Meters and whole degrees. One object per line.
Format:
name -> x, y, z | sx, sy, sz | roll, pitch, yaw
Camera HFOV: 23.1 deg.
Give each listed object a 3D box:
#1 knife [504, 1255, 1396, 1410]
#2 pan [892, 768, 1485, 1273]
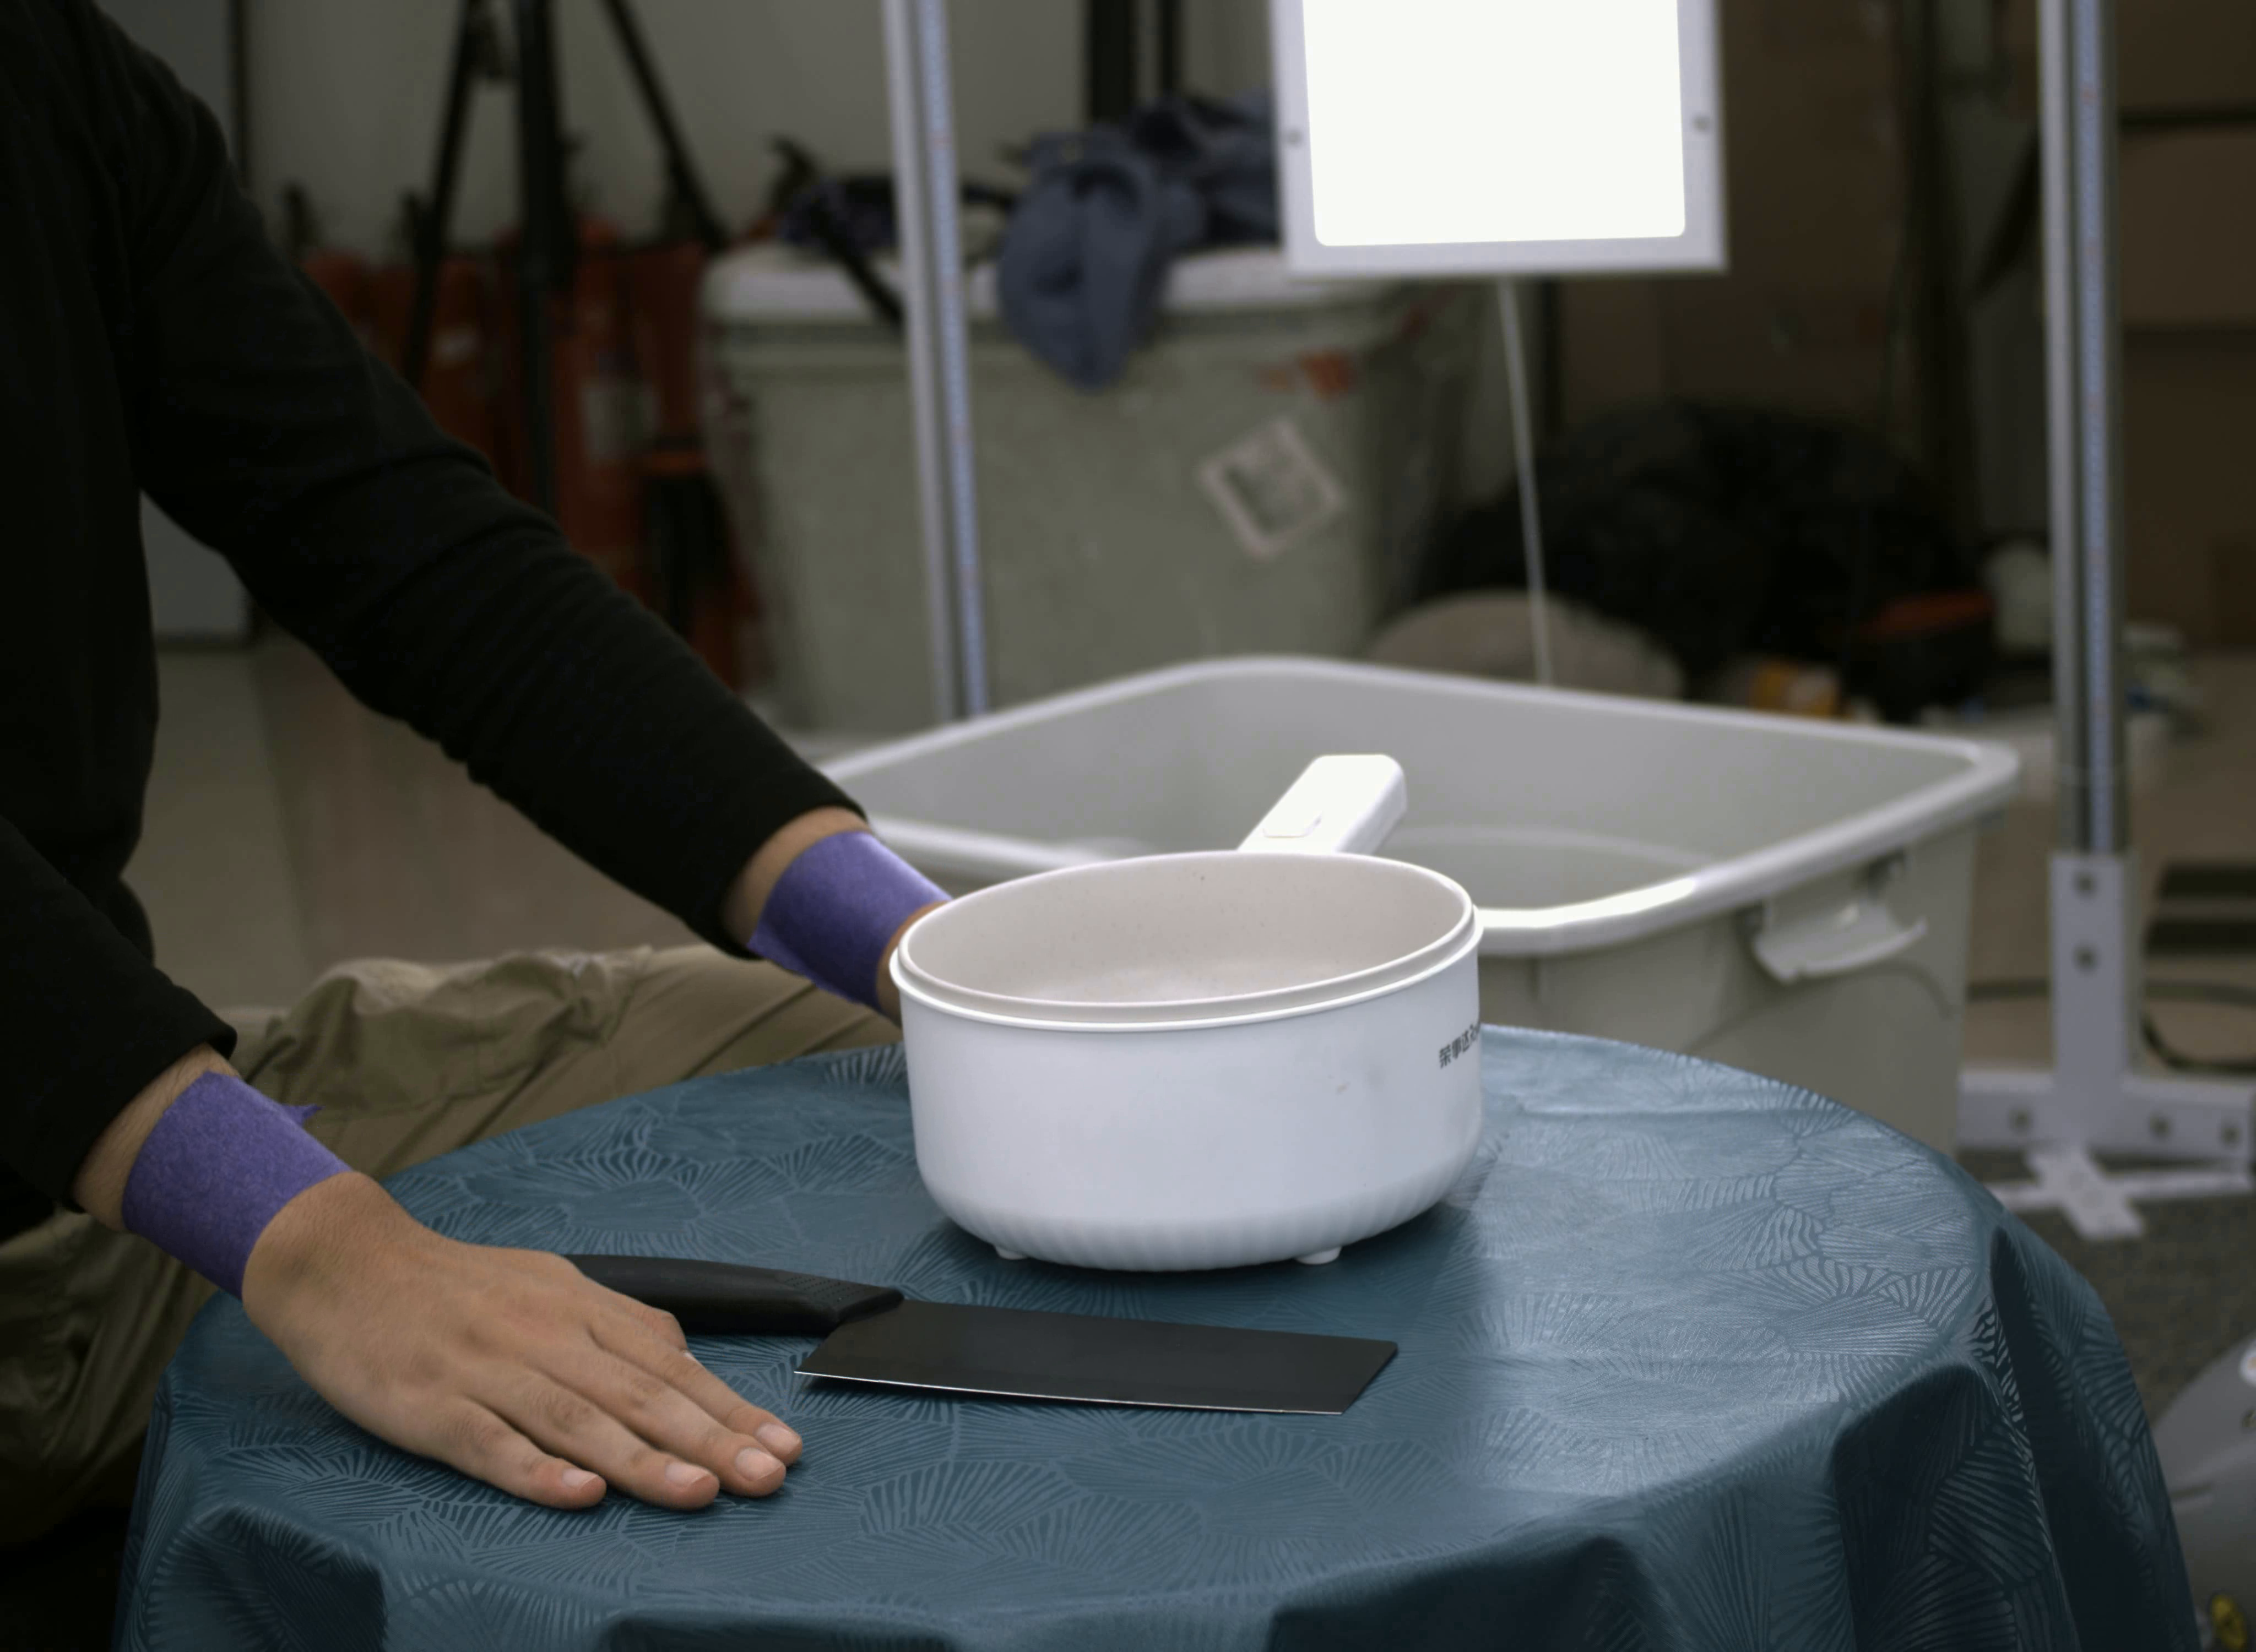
knife -> -0.063, 0.162, 1.751 | 0.307, 0.021, 0.079 | 4, 17, 27
pan -> 0.044, 0.065, 1.934 | 0.203, 0.102, 0.349 | -1, 13, 17
